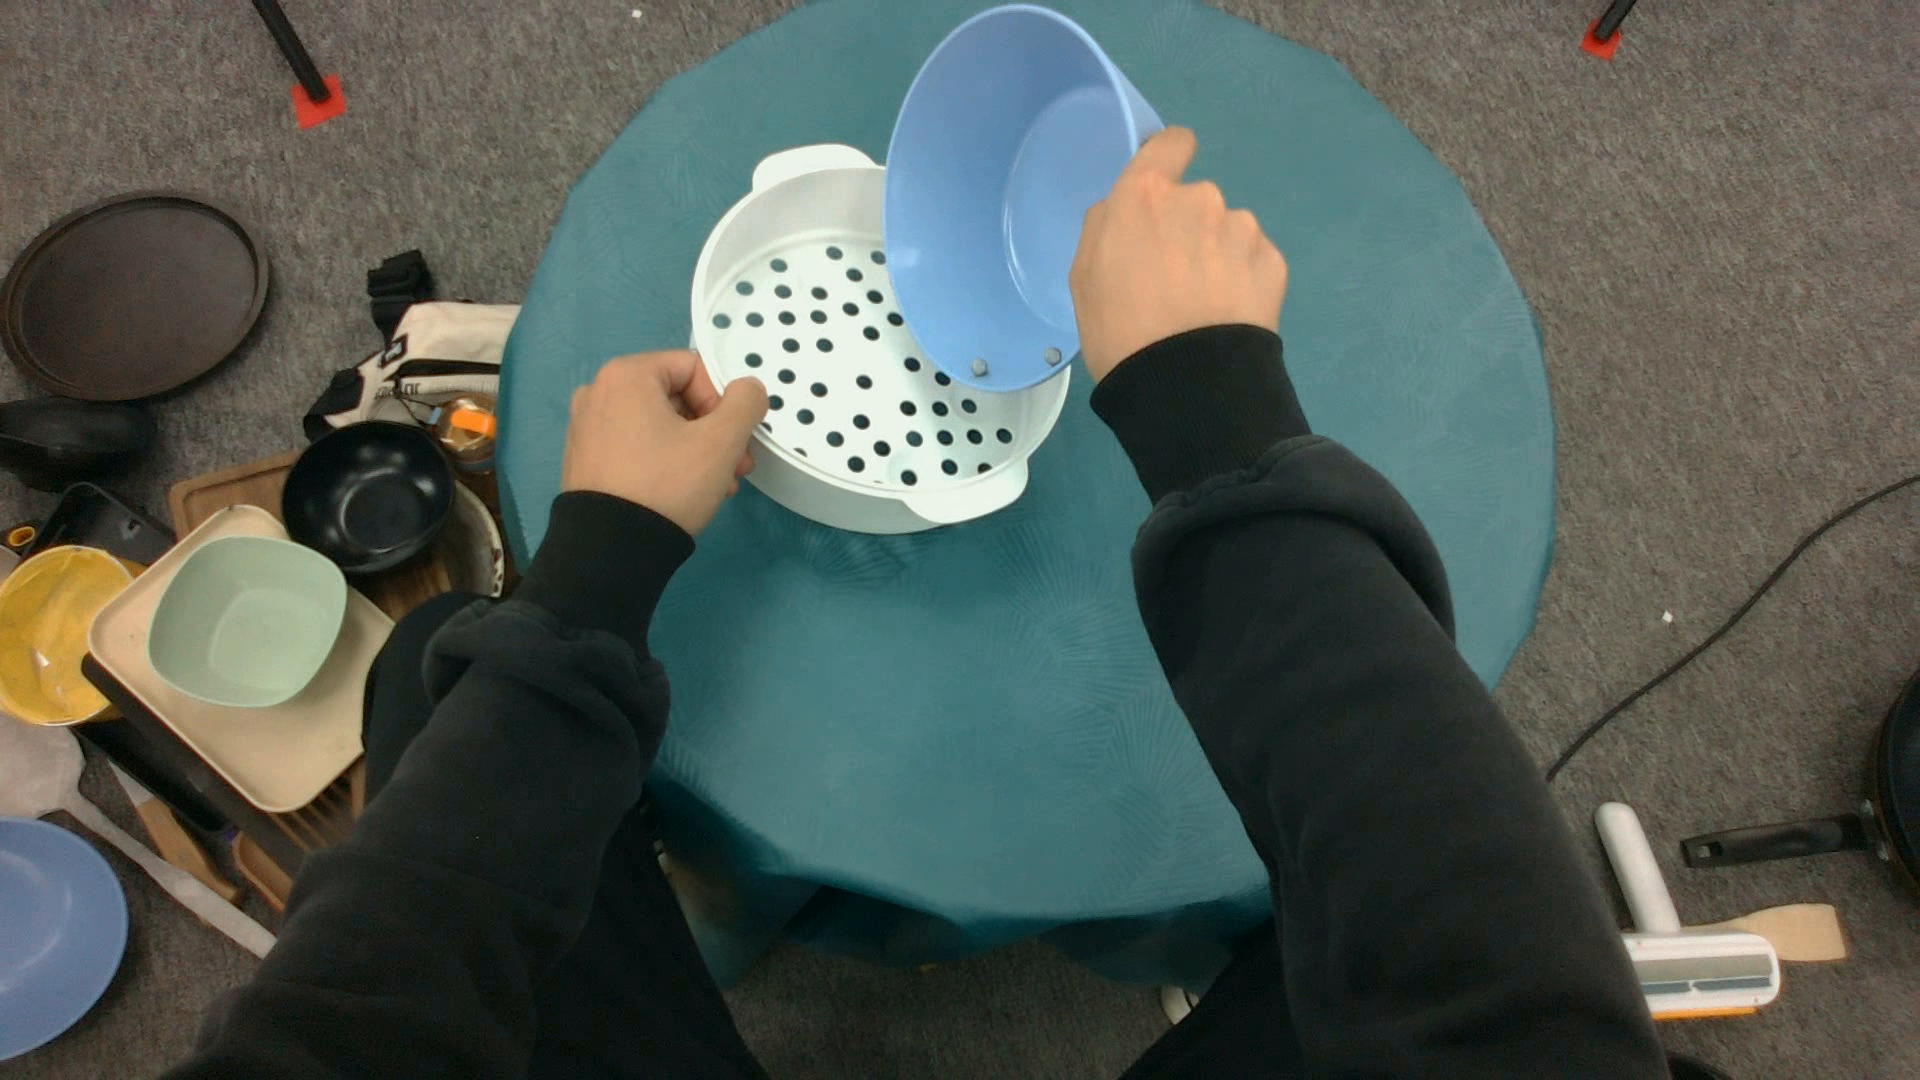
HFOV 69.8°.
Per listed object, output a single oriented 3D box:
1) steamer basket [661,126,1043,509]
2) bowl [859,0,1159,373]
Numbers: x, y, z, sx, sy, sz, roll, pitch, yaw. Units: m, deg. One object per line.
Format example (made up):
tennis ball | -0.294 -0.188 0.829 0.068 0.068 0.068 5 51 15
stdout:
steamer basket | -0.059 -0.113 0.735 0.202 0.069 0.231 -20 71 -26
bowl | 0.031 -0.170 0.664 0.070 0.175 0.176 -9 66 -42
